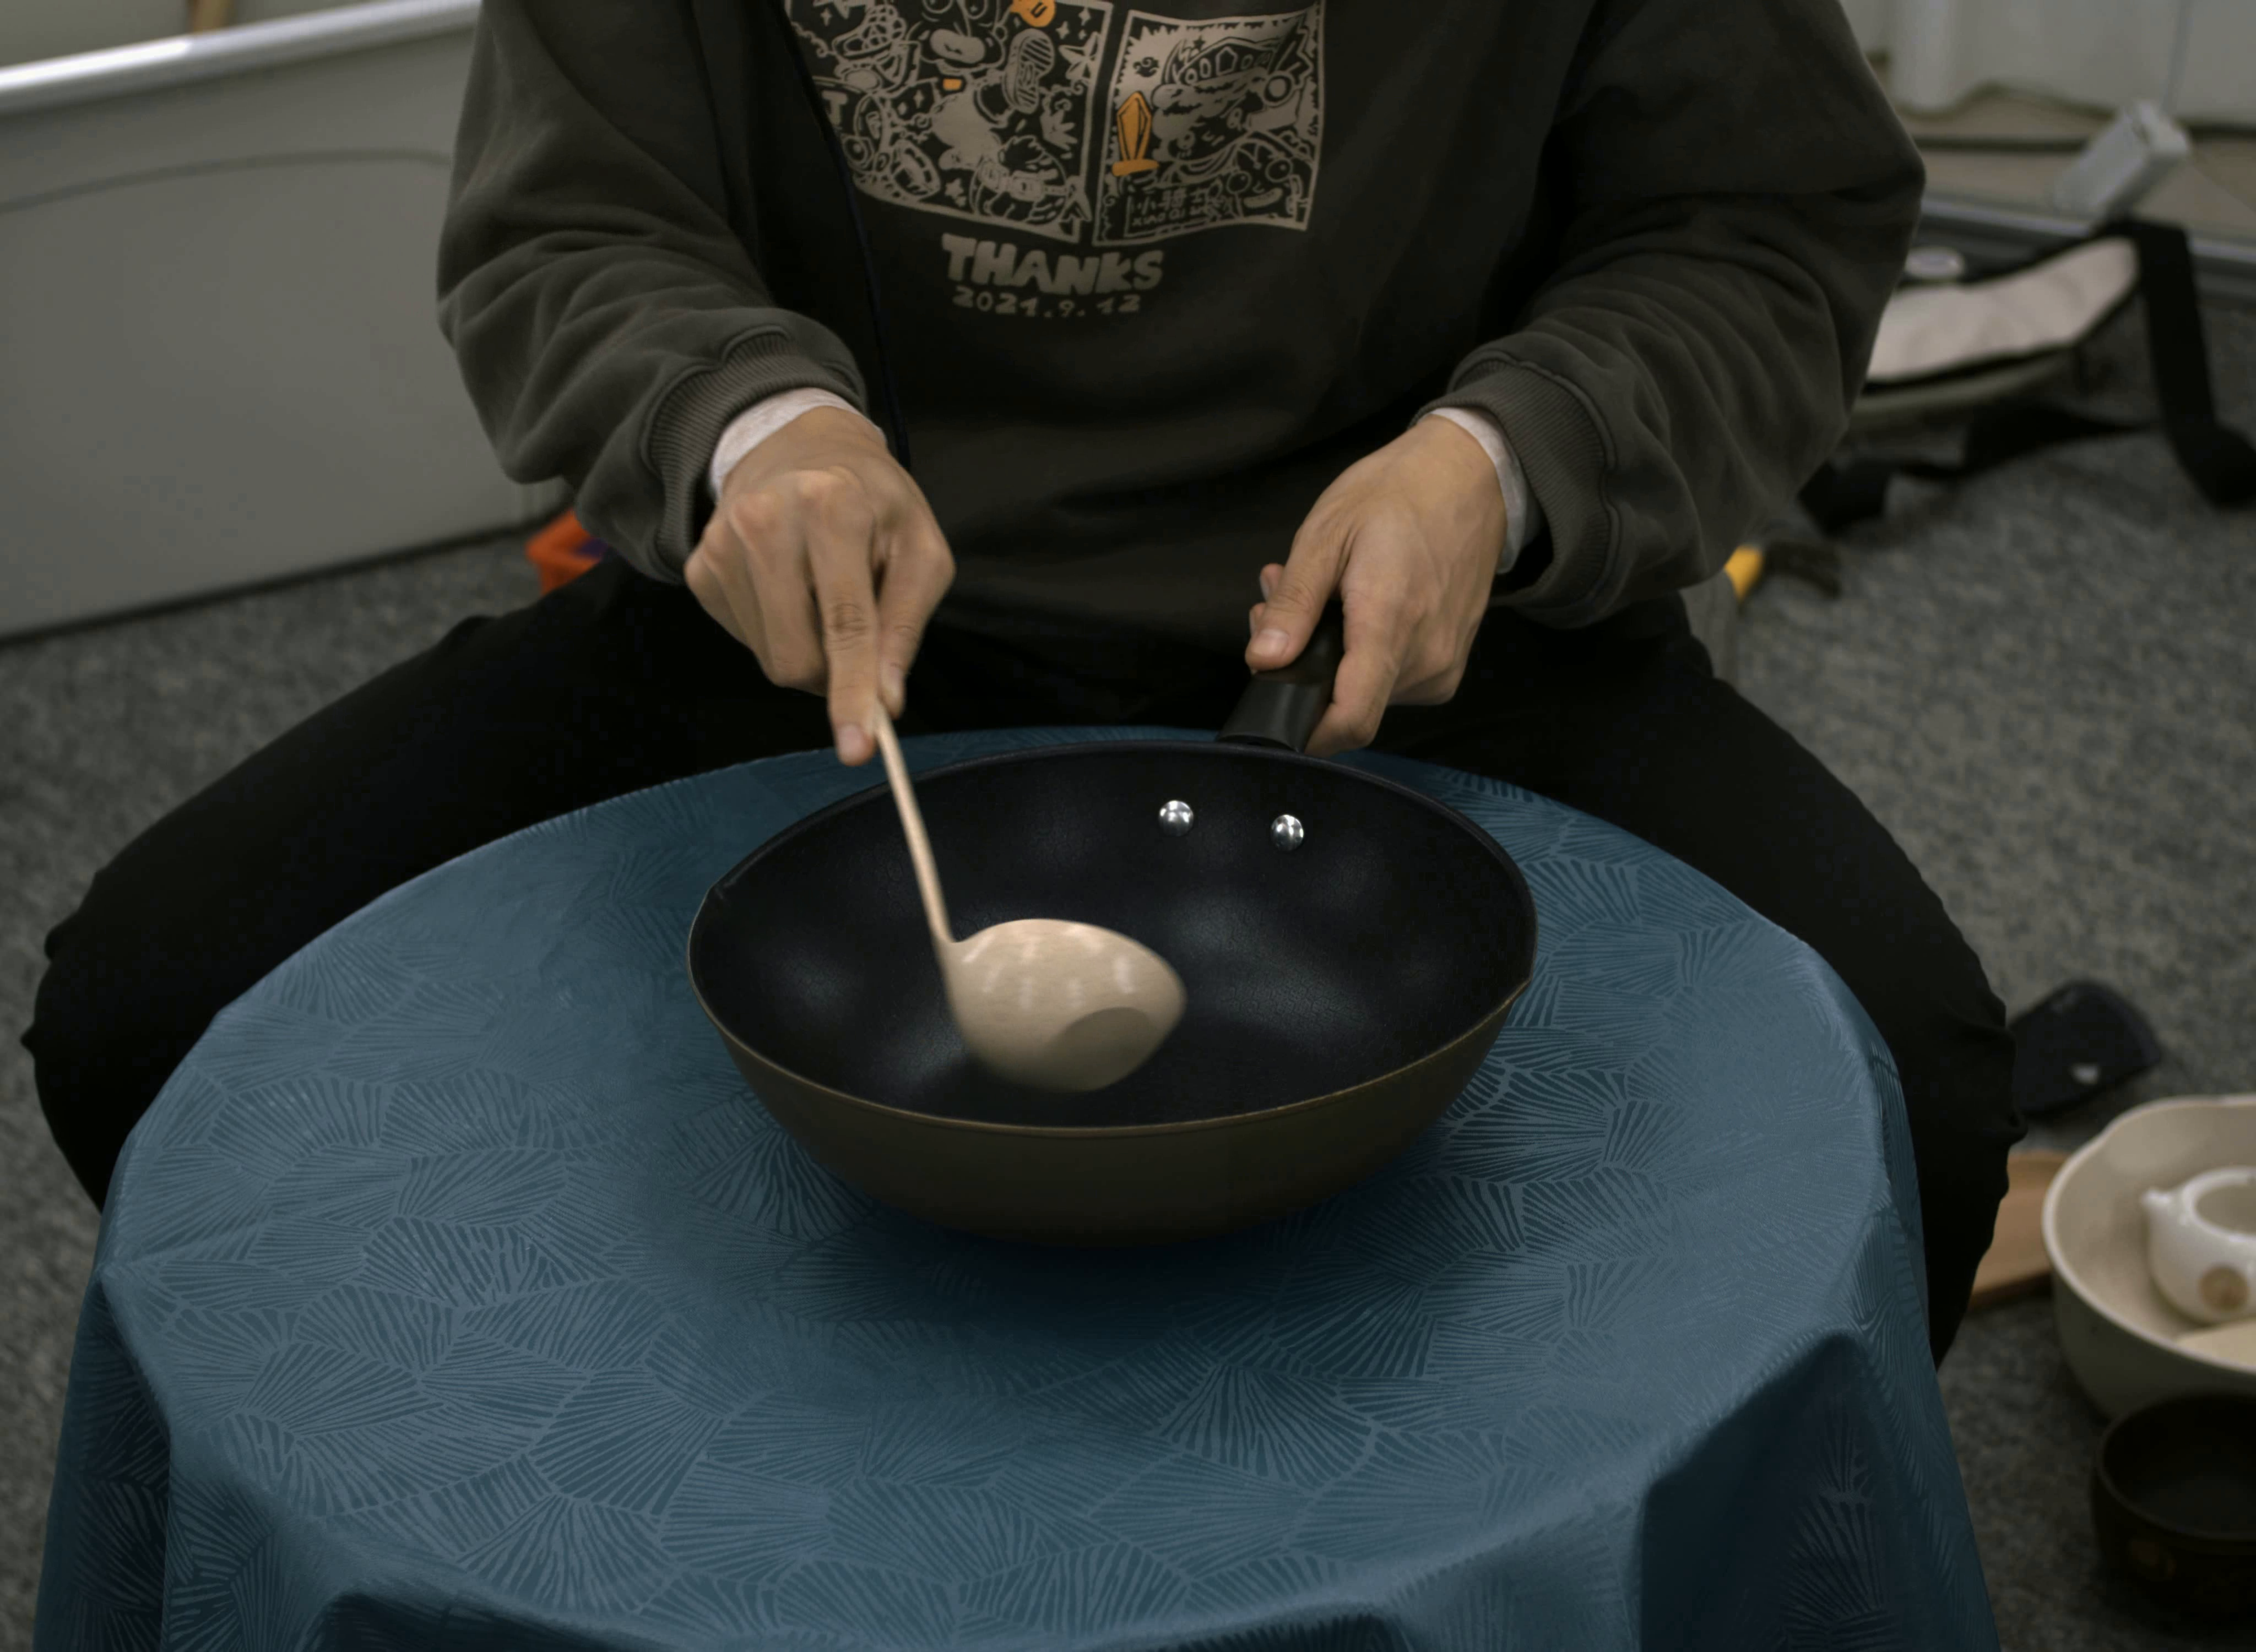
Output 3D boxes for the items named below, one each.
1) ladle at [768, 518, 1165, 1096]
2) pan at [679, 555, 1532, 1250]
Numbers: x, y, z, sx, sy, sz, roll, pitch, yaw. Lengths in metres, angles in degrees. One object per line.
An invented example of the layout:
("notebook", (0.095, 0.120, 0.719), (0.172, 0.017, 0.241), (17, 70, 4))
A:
("ladle", (-0.055, -0.021, 1.878), (0.072, 0.071, 0.258), (-20, 53, -1))
("pan", (0.024, 0.027, 1.952), (0.286, 0.086, 0.471), (6, 27, 18))
